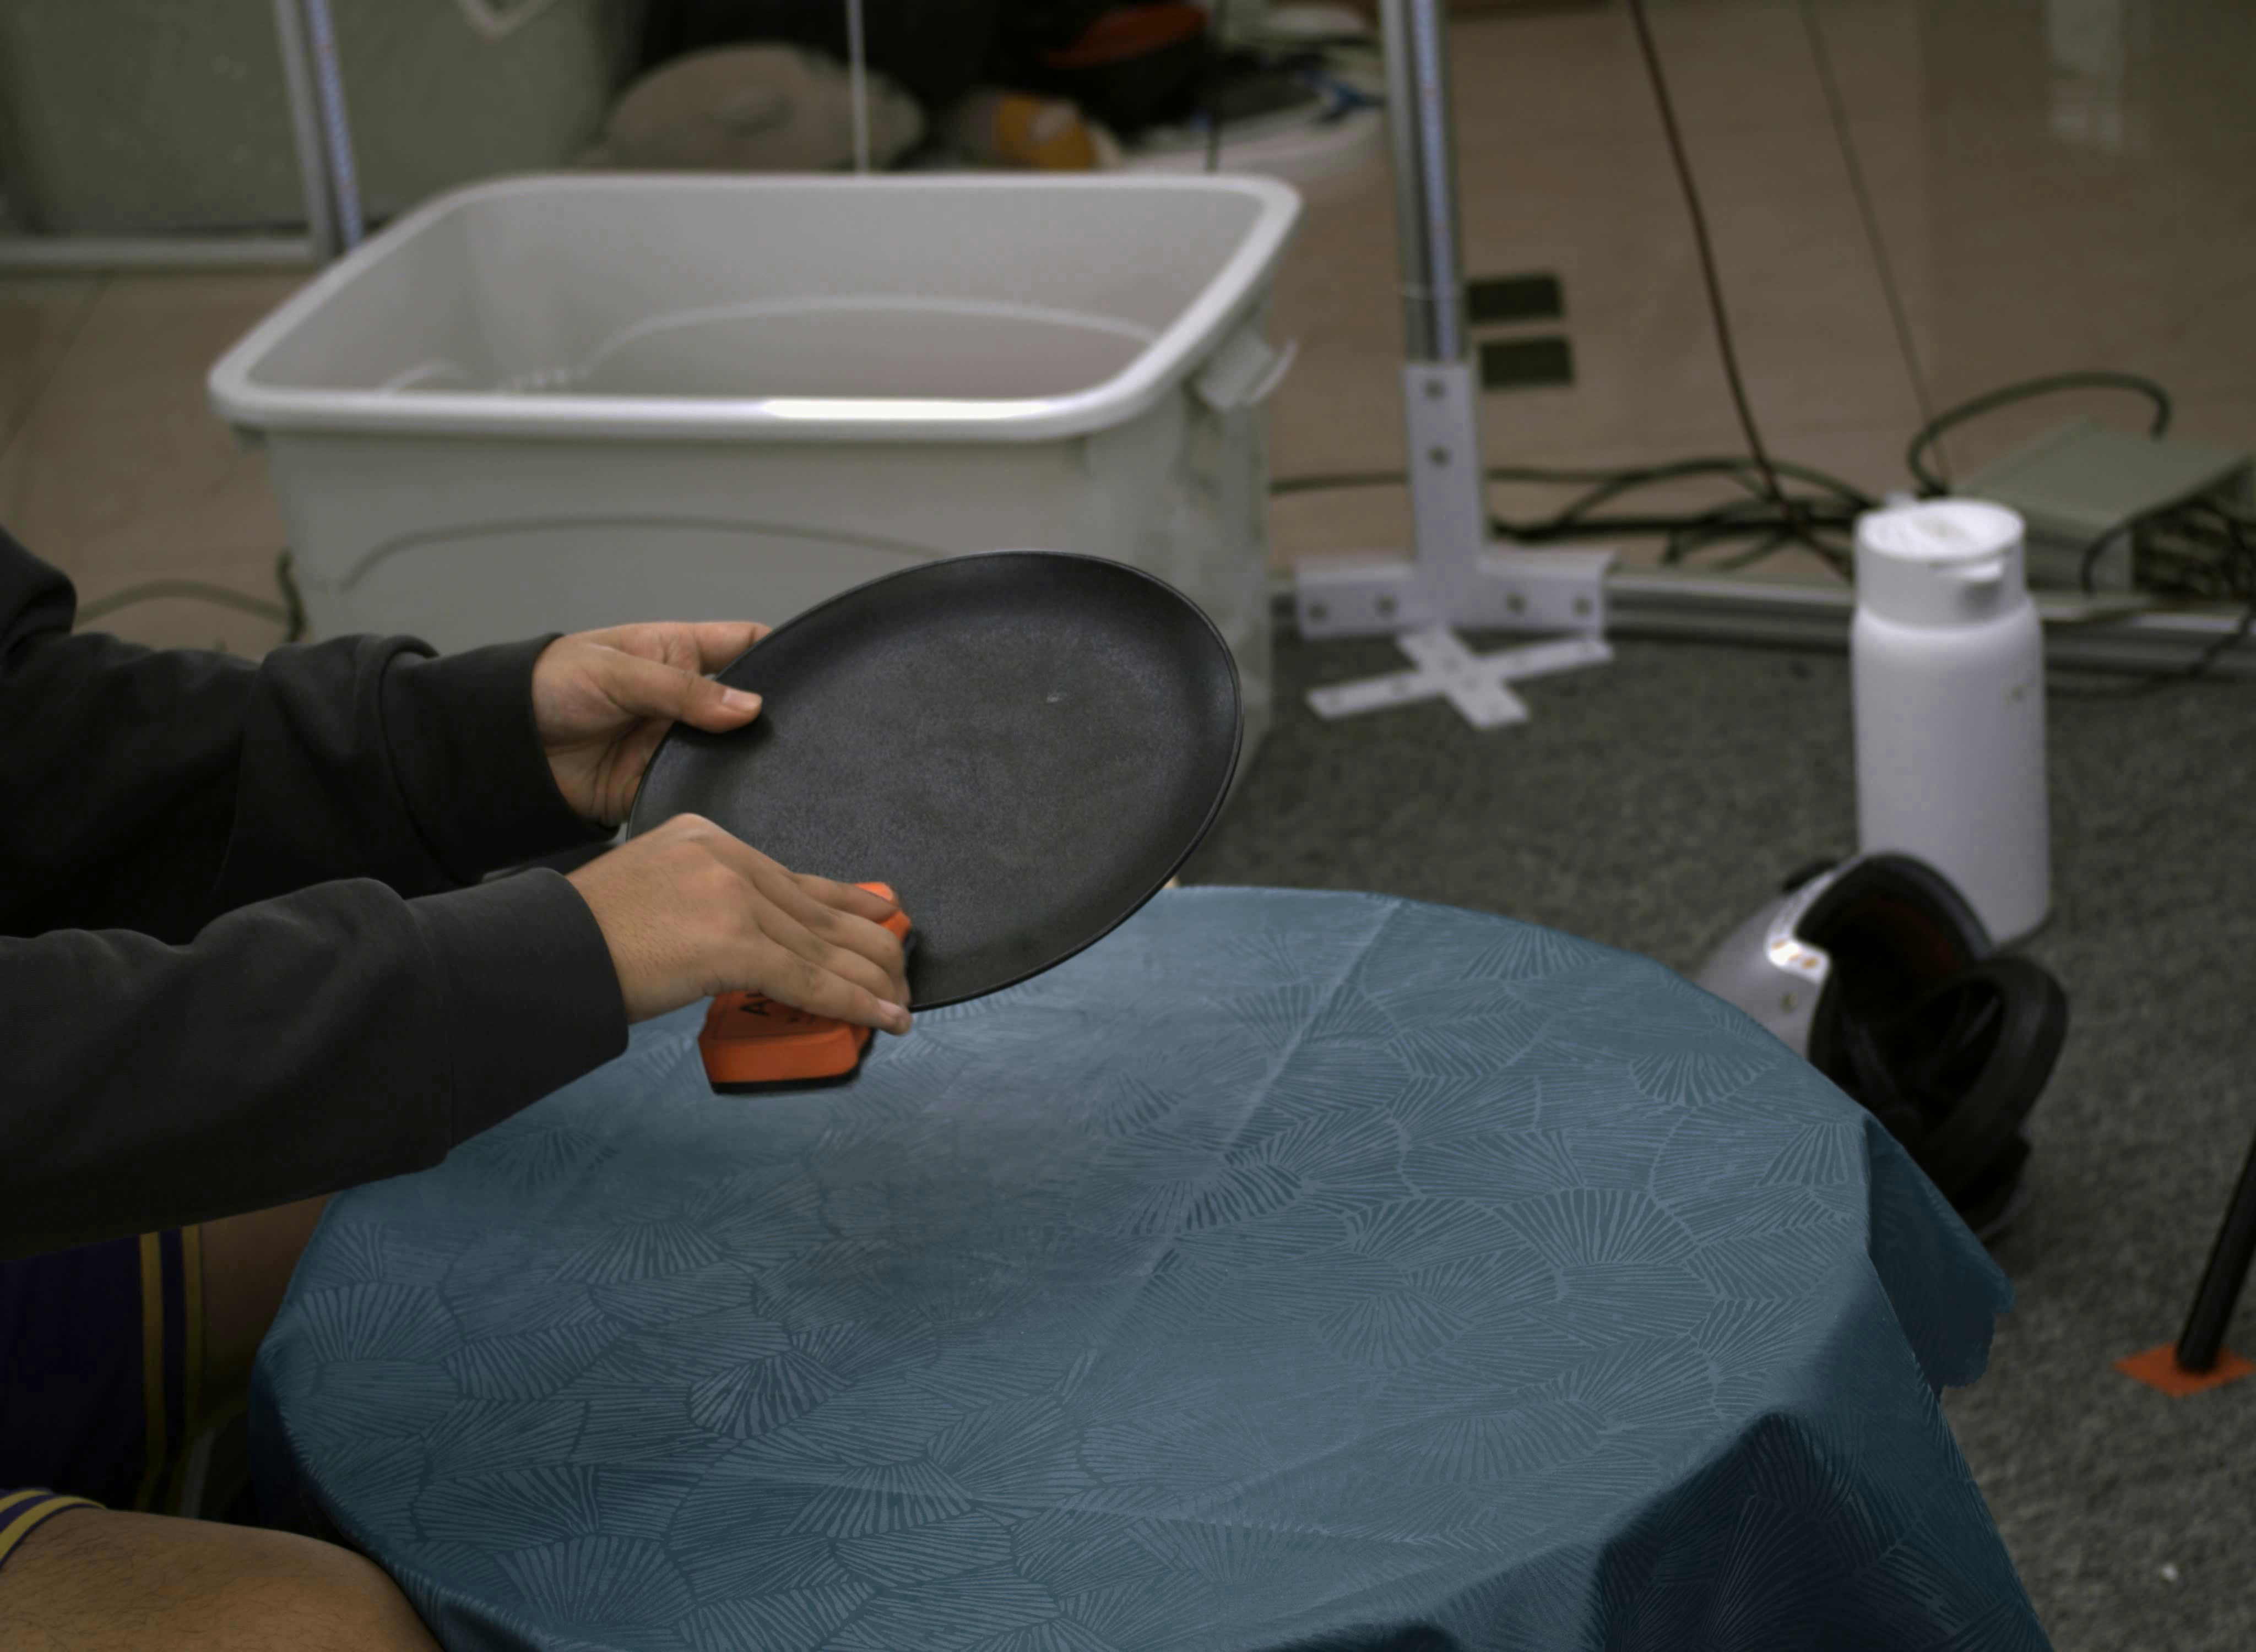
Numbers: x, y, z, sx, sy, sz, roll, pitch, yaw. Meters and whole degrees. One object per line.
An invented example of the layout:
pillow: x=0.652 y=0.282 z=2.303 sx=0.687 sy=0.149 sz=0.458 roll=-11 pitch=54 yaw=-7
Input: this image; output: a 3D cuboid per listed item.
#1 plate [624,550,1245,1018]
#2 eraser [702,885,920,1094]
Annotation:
plate: x=-0.071 y=-0.012 z=2.127 sx=0.244 sy=0.024 sz=0.240 roll=-11 pitch=45 yaw=11
eraser: x=-0.113 y=0.058 z=2.037 sx=0.059 sy=0.023 sz=0.106 roll=-3 pitch=29 yaw=14
